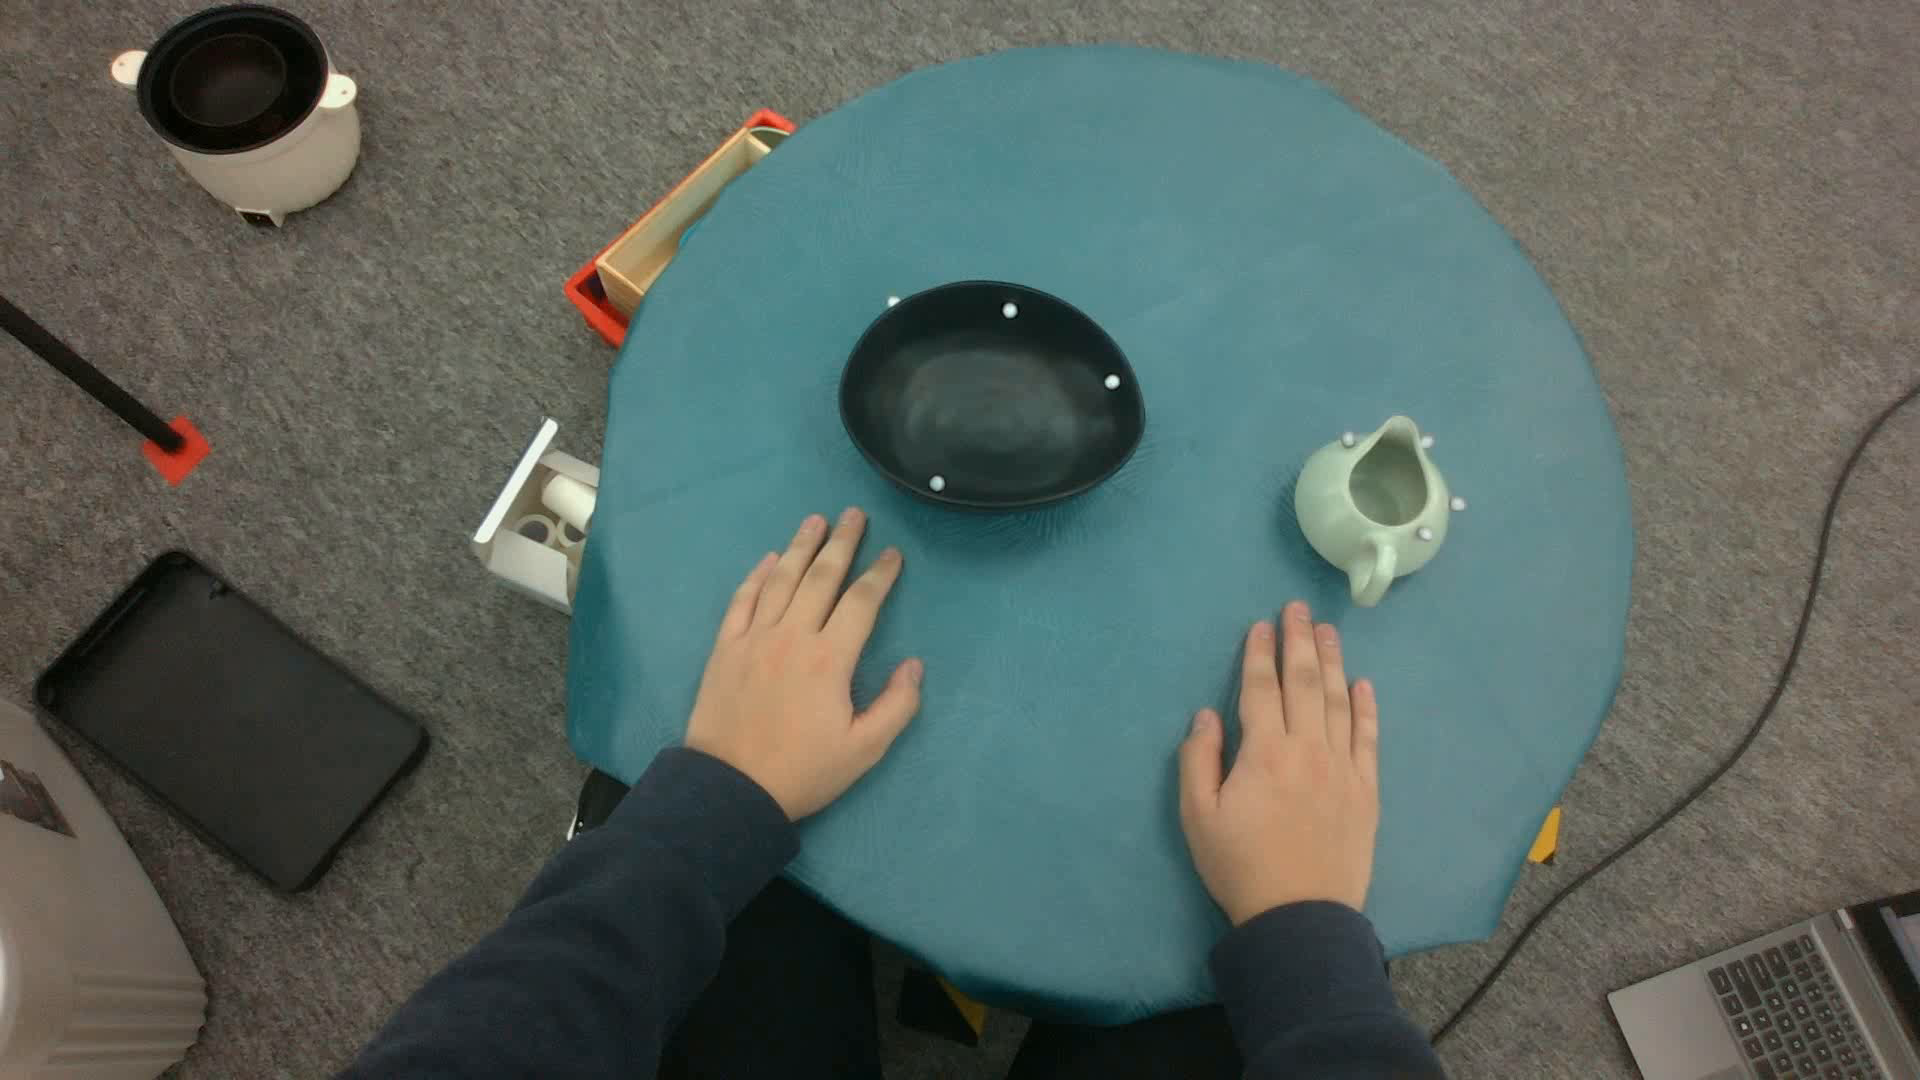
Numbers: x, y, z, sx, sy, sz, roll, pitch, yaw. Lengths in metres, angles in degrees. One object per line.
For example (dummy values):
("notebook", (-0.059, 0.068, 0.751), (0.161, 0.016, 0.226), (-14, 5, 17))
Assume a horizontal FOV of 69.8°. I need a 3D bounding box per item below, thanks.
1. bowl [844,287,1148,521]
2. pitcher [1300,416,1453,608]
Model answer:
("bowl", (0.020, -0.069, 0.783), (0.170, 0.066, 0.138), (3, 70, -2))
("pitcher", (0.235, -0.012, 0.775), (0.086, 0.060, 0.108), (11, 72, 3))
